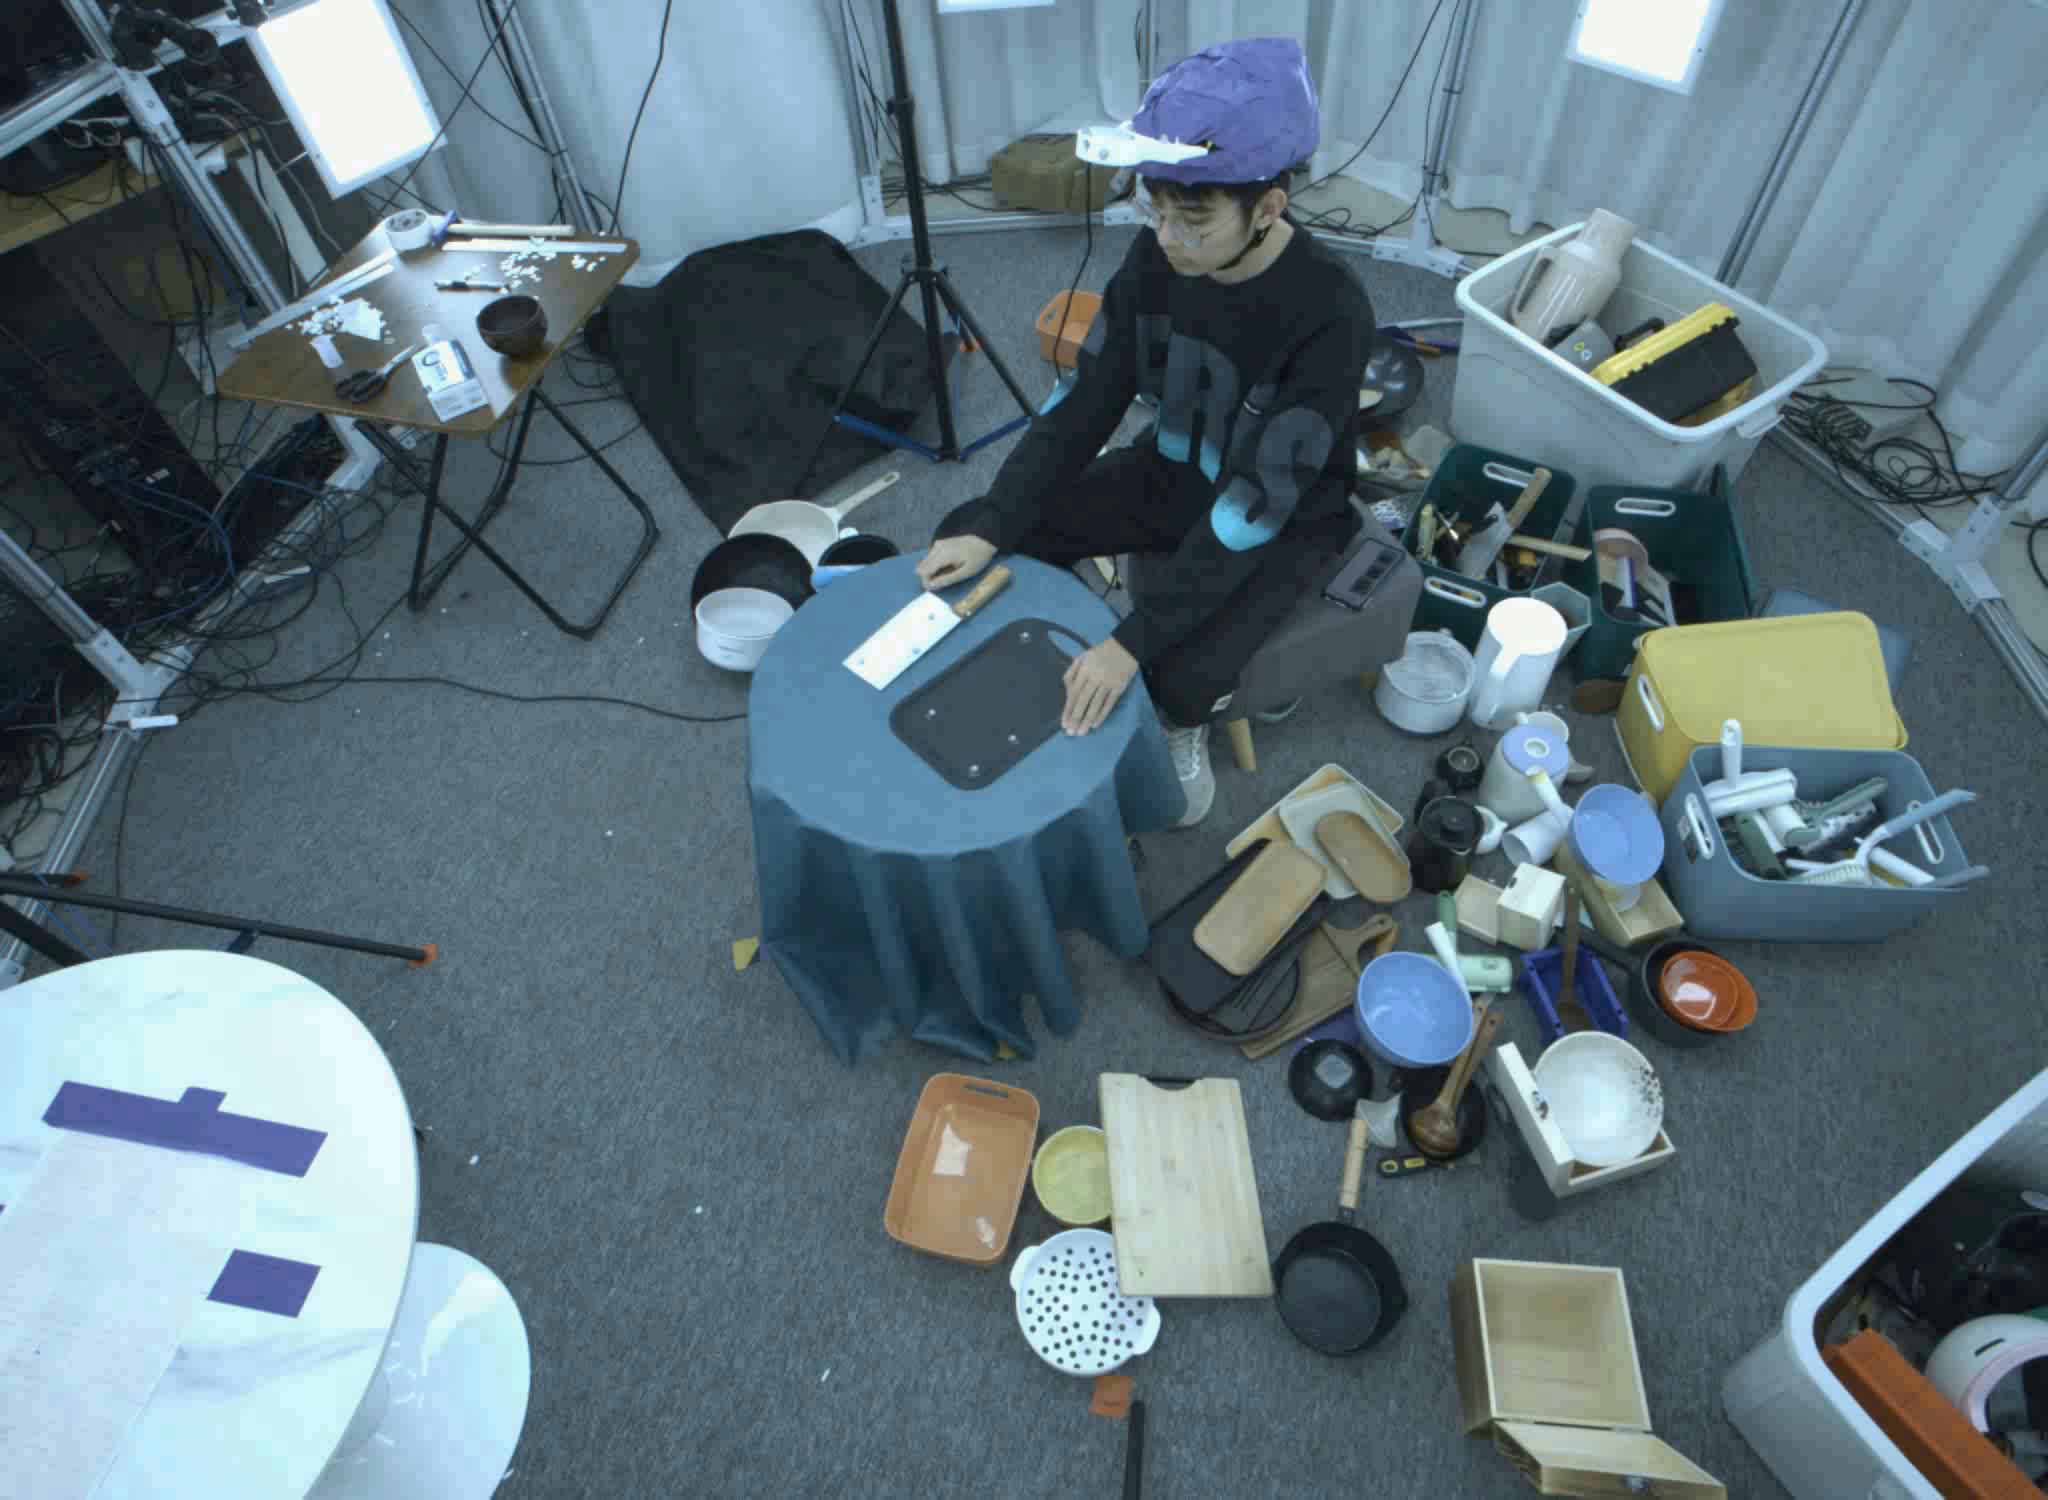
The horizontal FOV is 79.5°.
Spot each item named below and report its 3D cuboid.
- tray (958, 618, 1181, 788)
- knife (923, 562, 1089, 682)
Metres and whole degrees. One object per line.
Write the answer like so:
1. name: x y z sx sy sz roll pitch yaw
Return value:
1. tray: 0.074 -0.082 1.838 0.328 0.010 0.207 -34 60 -20
2. knife: -0.031 -0.215 1.931 0.307 0.021 0.091 -40 61 -20
